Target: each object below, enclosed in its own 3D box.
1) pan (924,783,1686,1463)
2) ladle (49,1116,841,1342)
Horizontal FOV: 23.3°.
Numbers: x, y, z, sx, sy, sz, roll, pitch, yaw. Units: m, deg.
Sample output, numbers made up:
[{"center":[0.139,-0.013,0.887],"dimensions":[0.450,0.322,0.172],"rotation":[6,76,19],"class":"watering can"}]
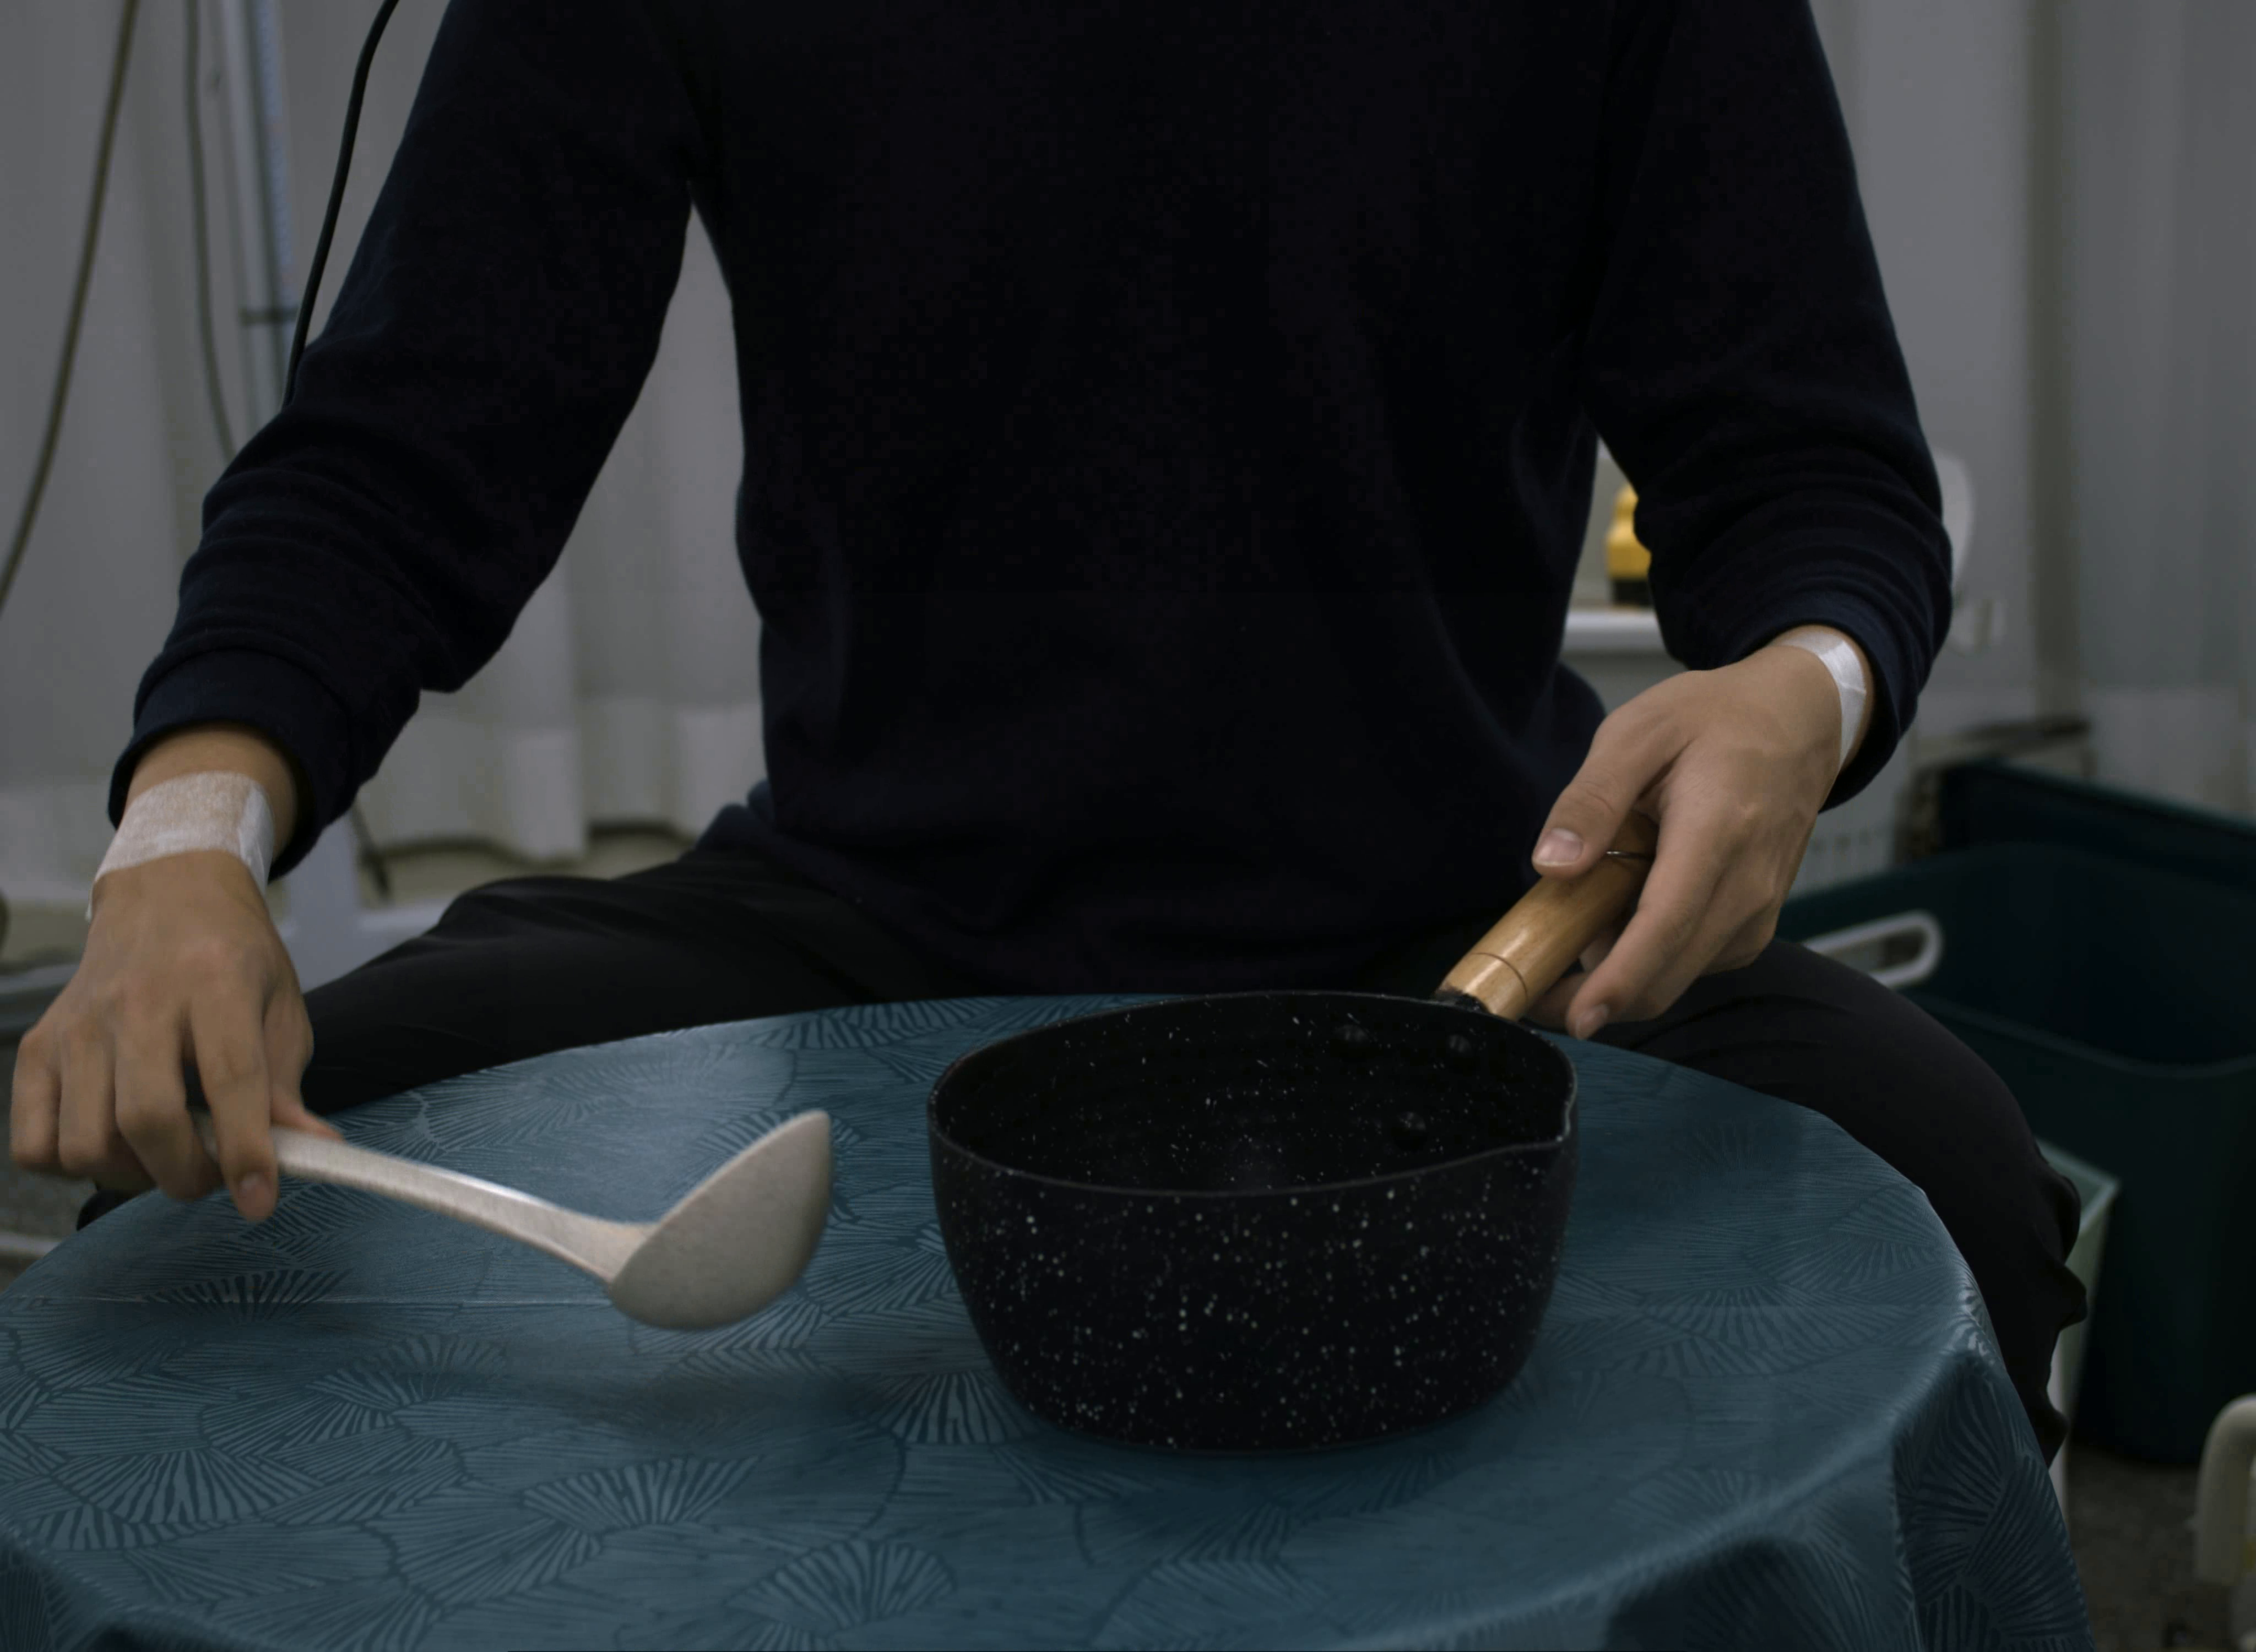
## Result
[{"center":[0.077,0.082,1.613],"dimensions":[0.208,0.108,0.343],"rotation":[5,18,31],"class":"pan"},{"center":[-0.207,0.091,1.600],"dimensions":[0.276,0.069,0.089],"rotation":[13,21,28],"class":"ladle"}]
